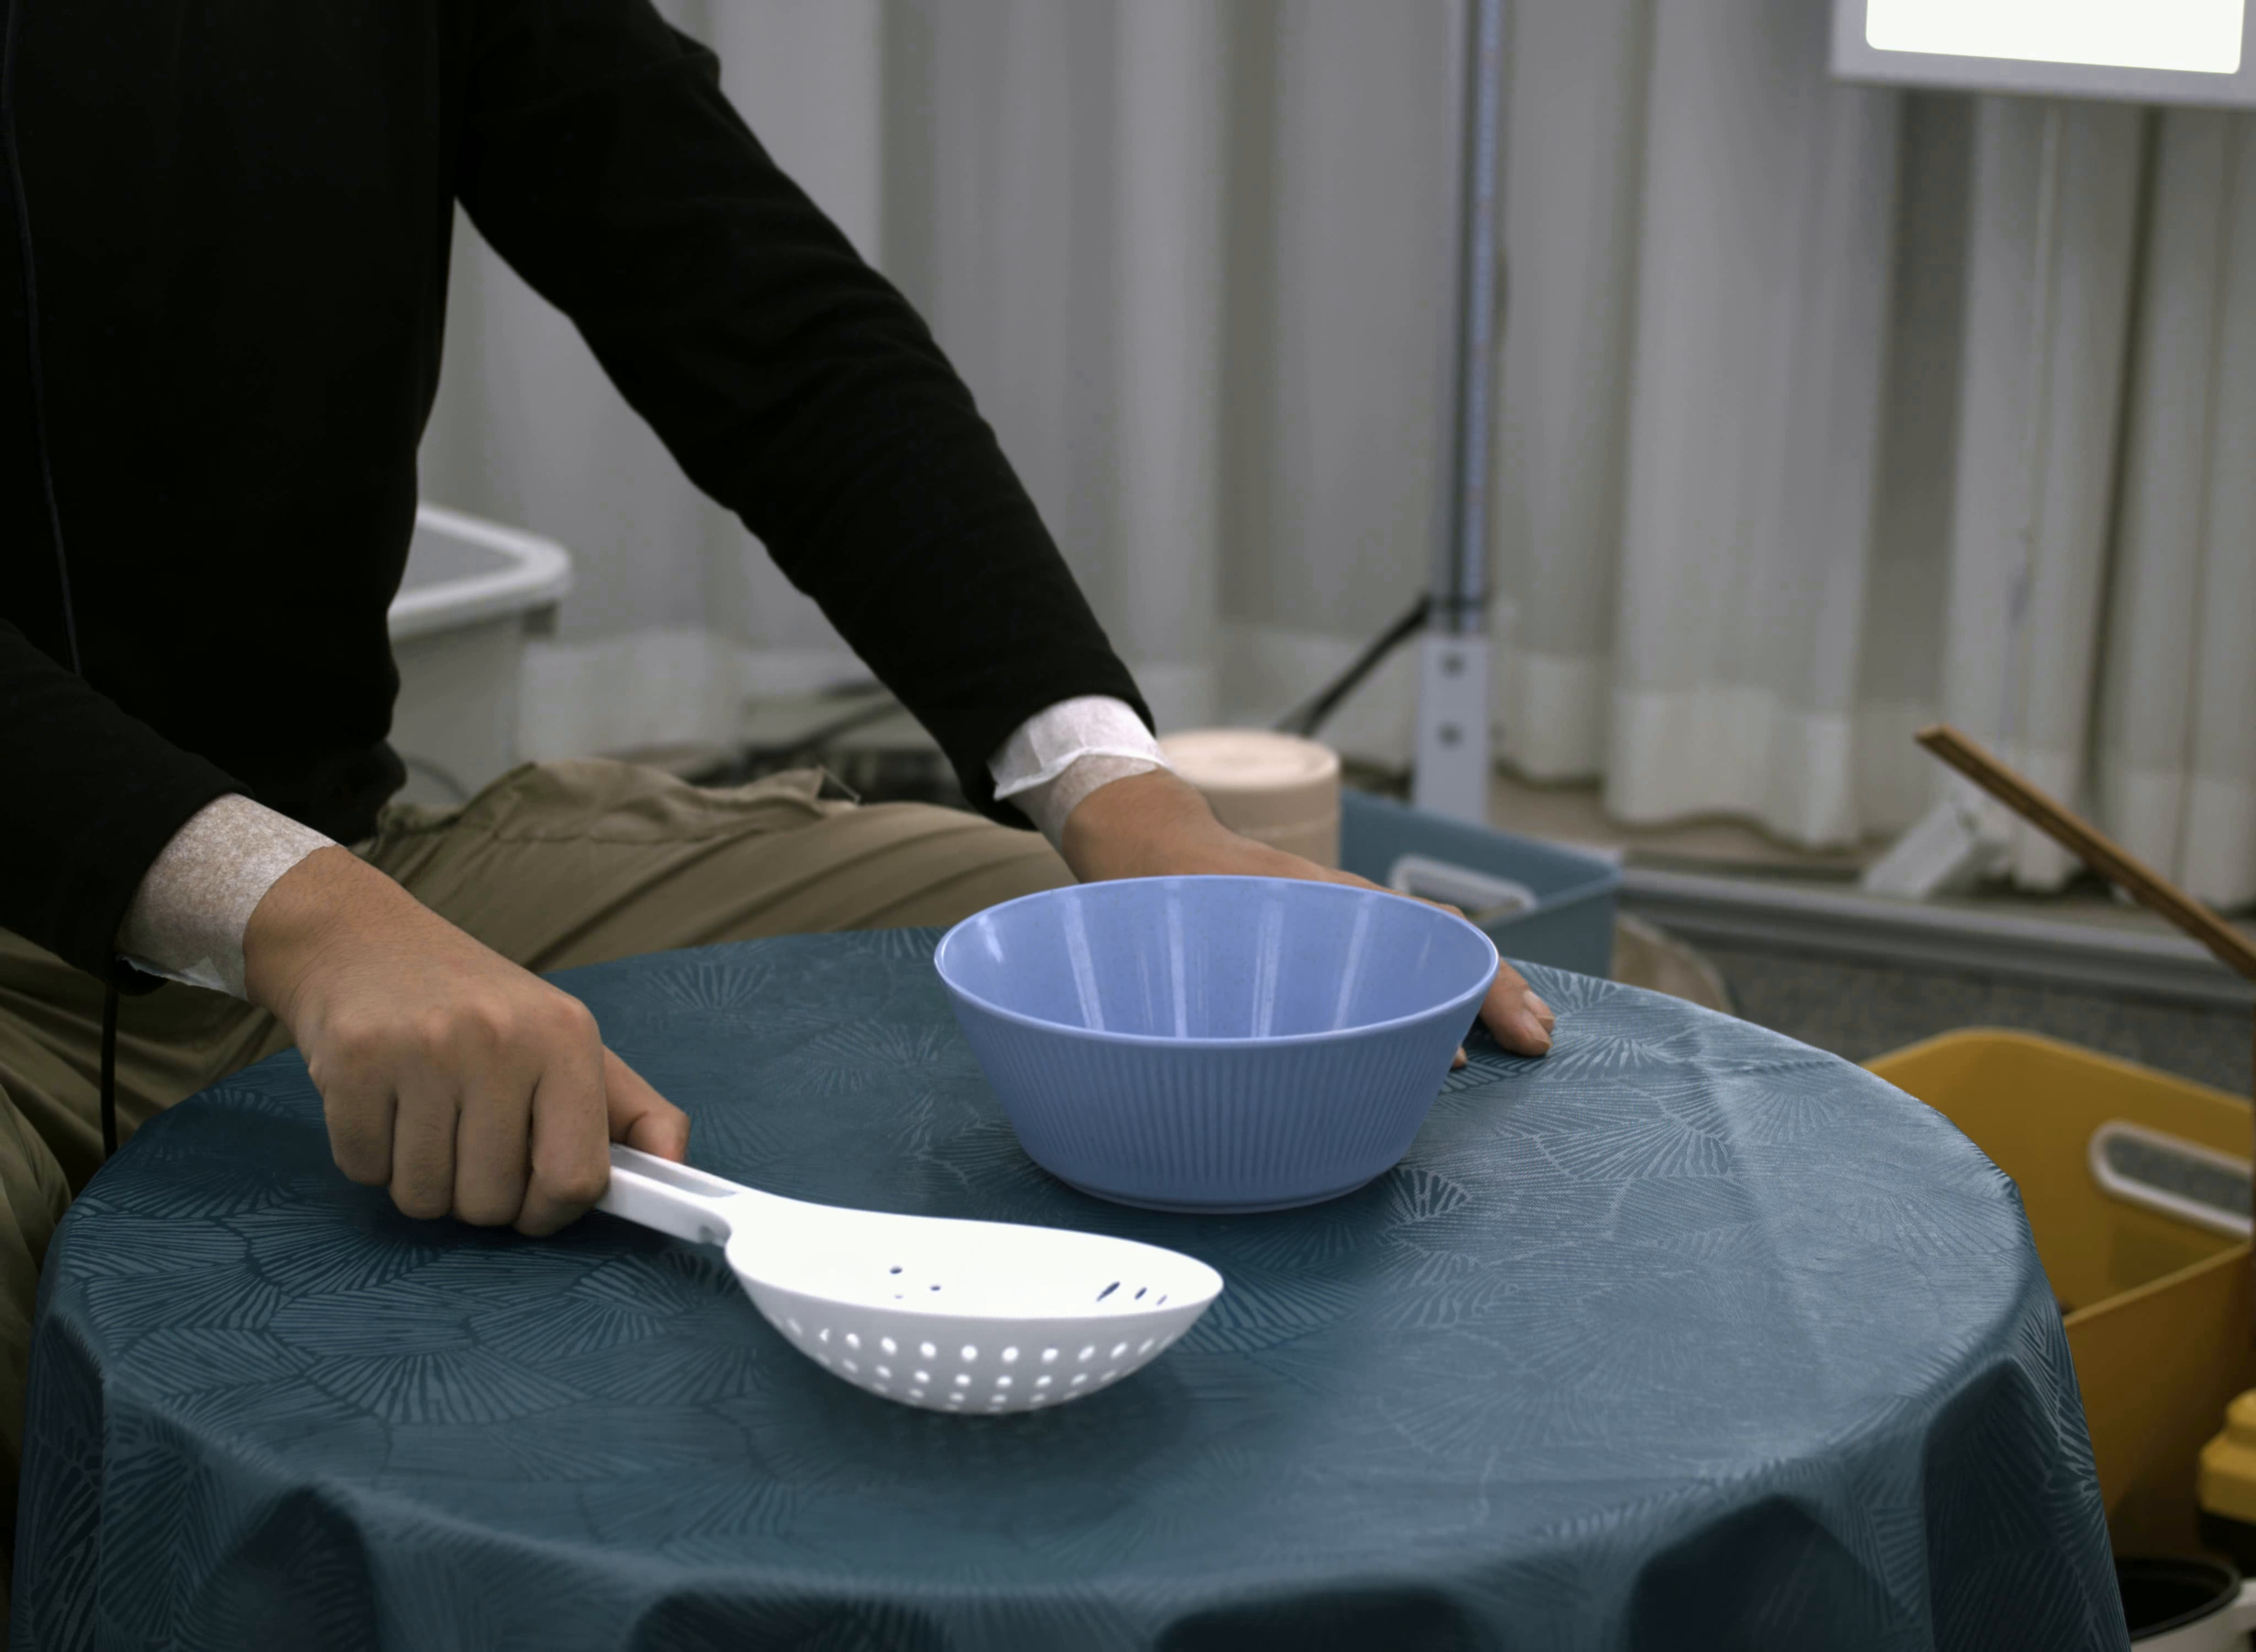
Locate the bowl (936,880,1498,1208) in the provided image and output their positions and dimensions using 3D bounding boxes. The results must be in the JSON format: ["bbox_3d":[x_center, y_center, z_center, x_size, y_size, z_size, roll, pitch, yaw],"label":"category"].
[{"bbox_3d":[0.028,0.070,1.643,0.175,0.071,0.175,0,15,0],"label":"bowl"}]

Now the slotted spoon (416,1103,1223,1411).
[{"bbox_3d":[-0.108,0.114,1.521,0.137,0.046,0.345,-1,12,-39],"label":"slotted spoon"}]
